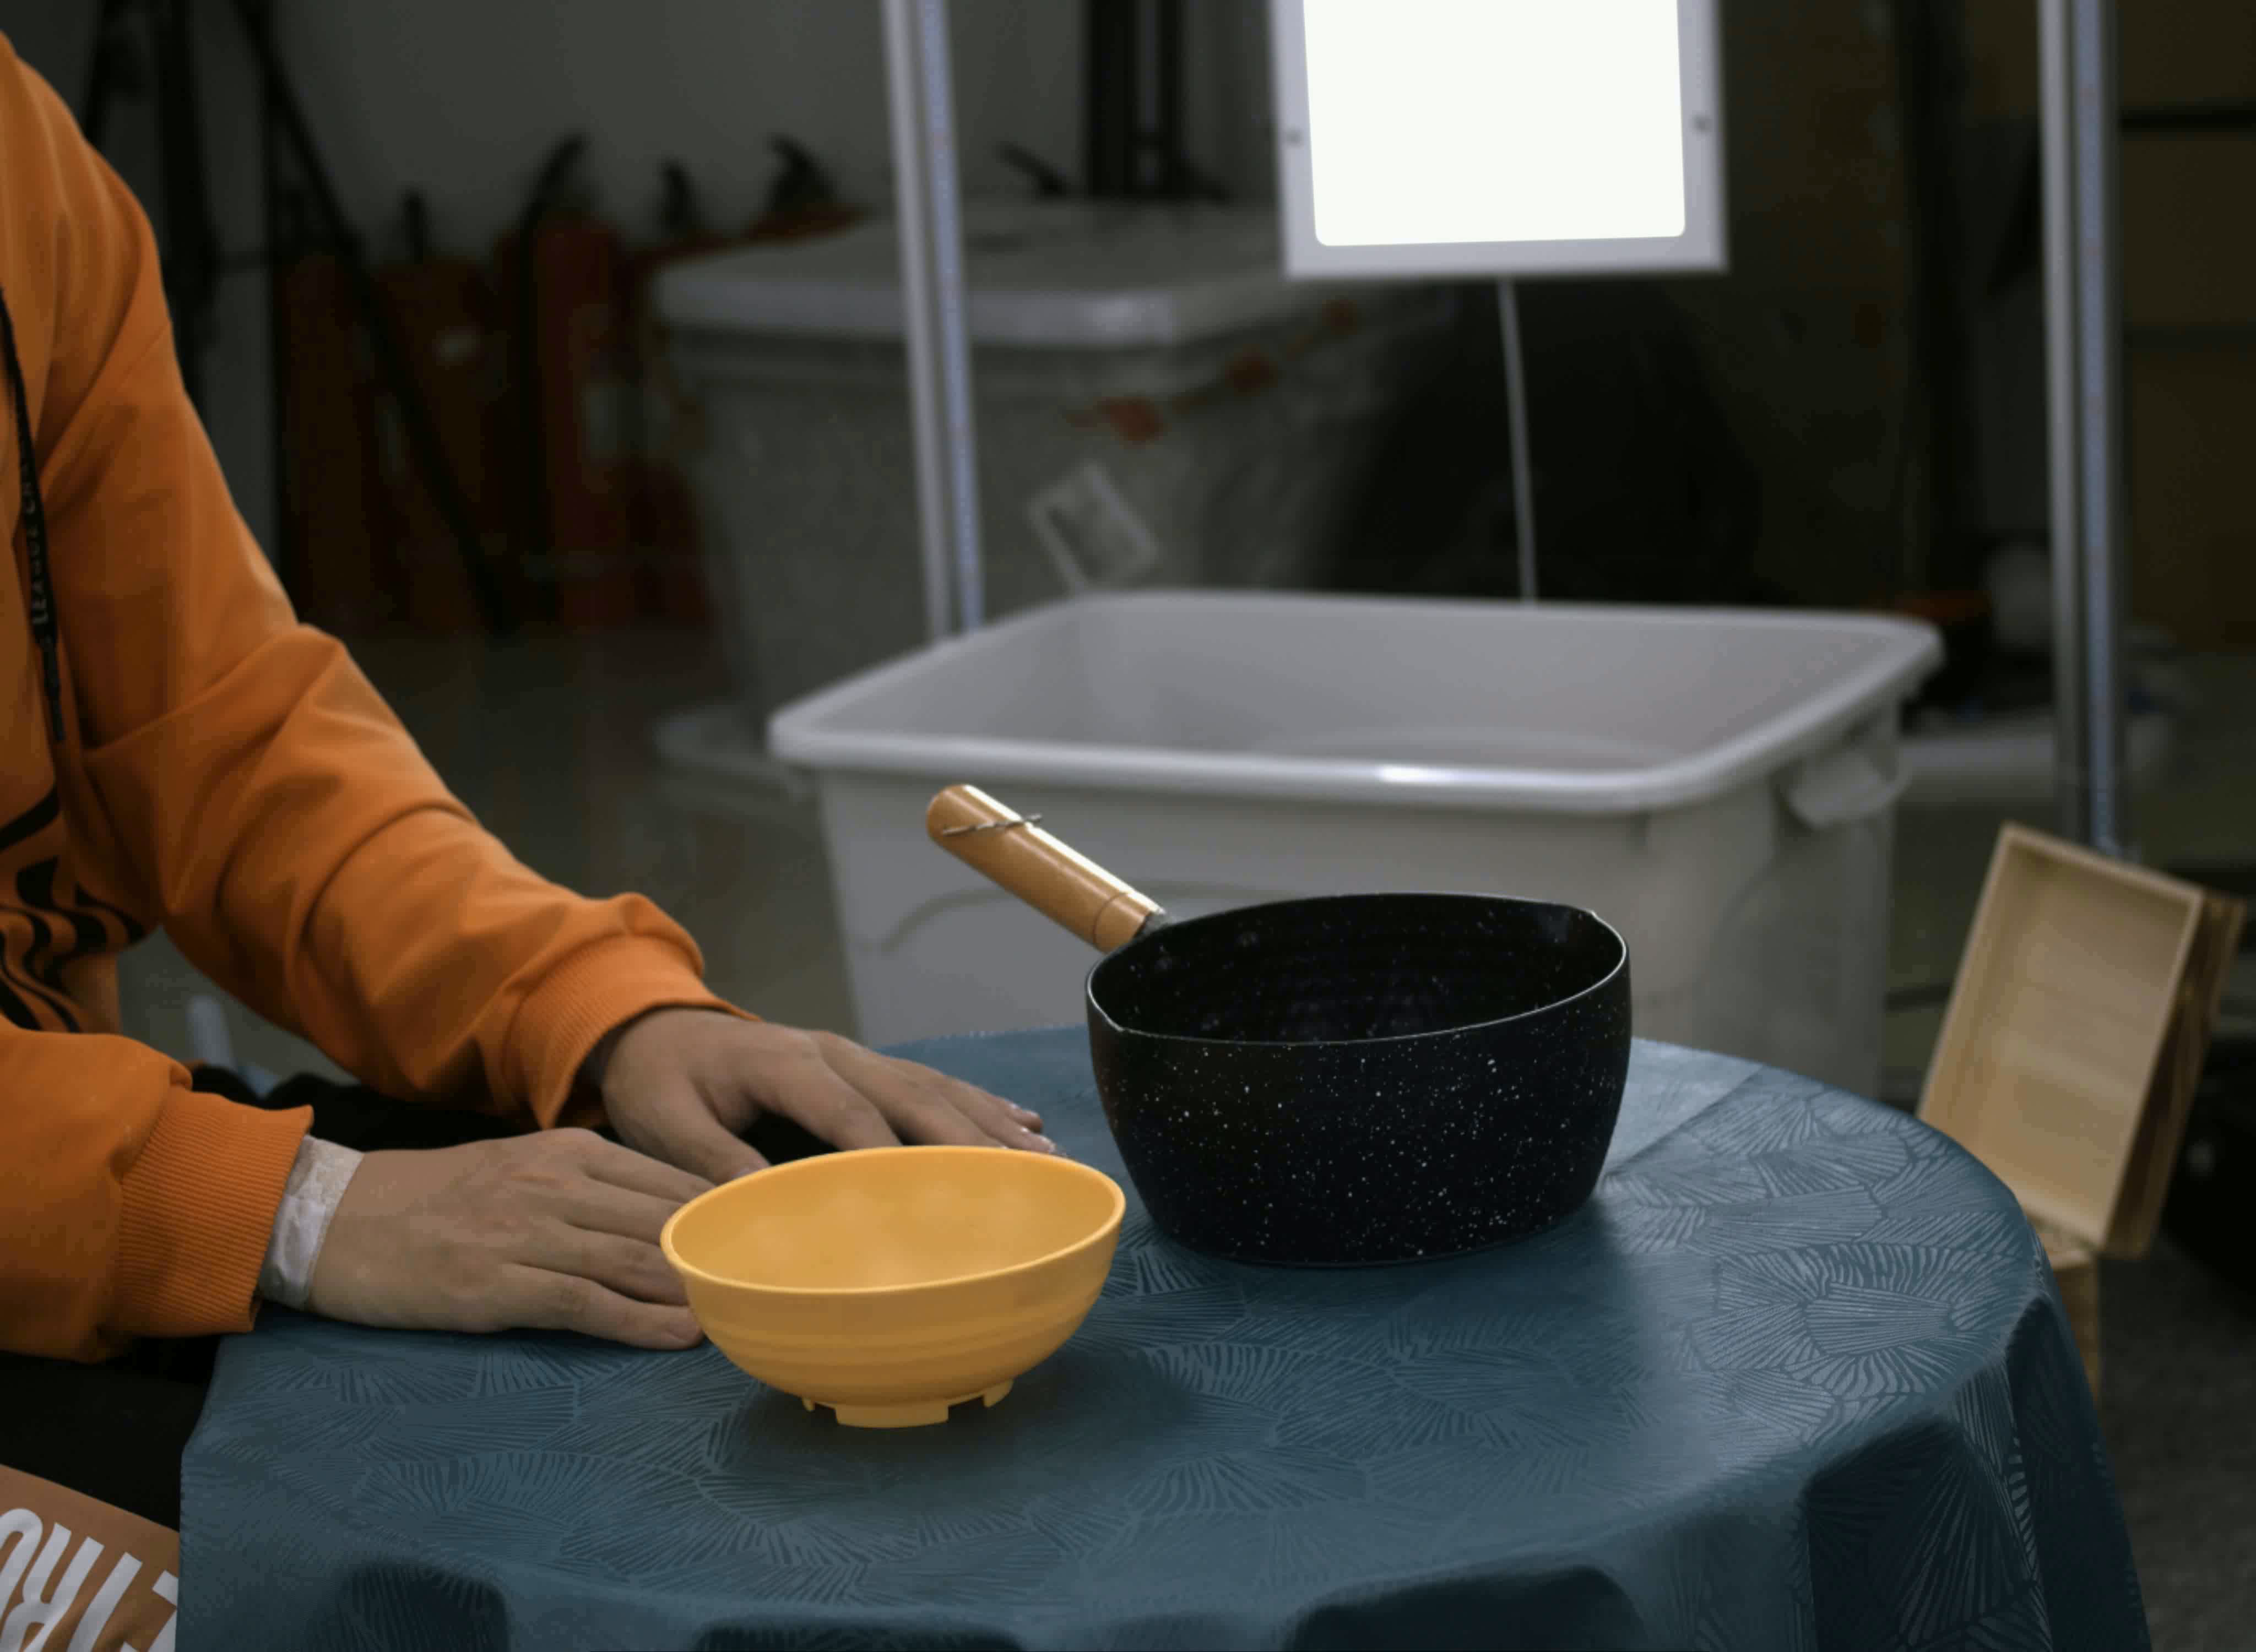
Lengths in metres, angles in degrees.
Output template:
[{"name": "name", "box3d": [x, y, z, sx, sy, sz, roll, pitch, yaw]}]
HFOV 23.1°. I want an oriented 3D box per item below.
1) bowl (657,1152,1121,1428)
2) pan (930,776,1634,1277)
[{"name": "bowl", "box3d": [-0.072, 0.148, 1.712, 0.145, 0.060, 0.145, -4, 13, 0]}, {"name": "pan", "box3d": [0.033, 0.063, 1.917, 0.202, 0.108, 0.349, -16, 19, -32]}]
